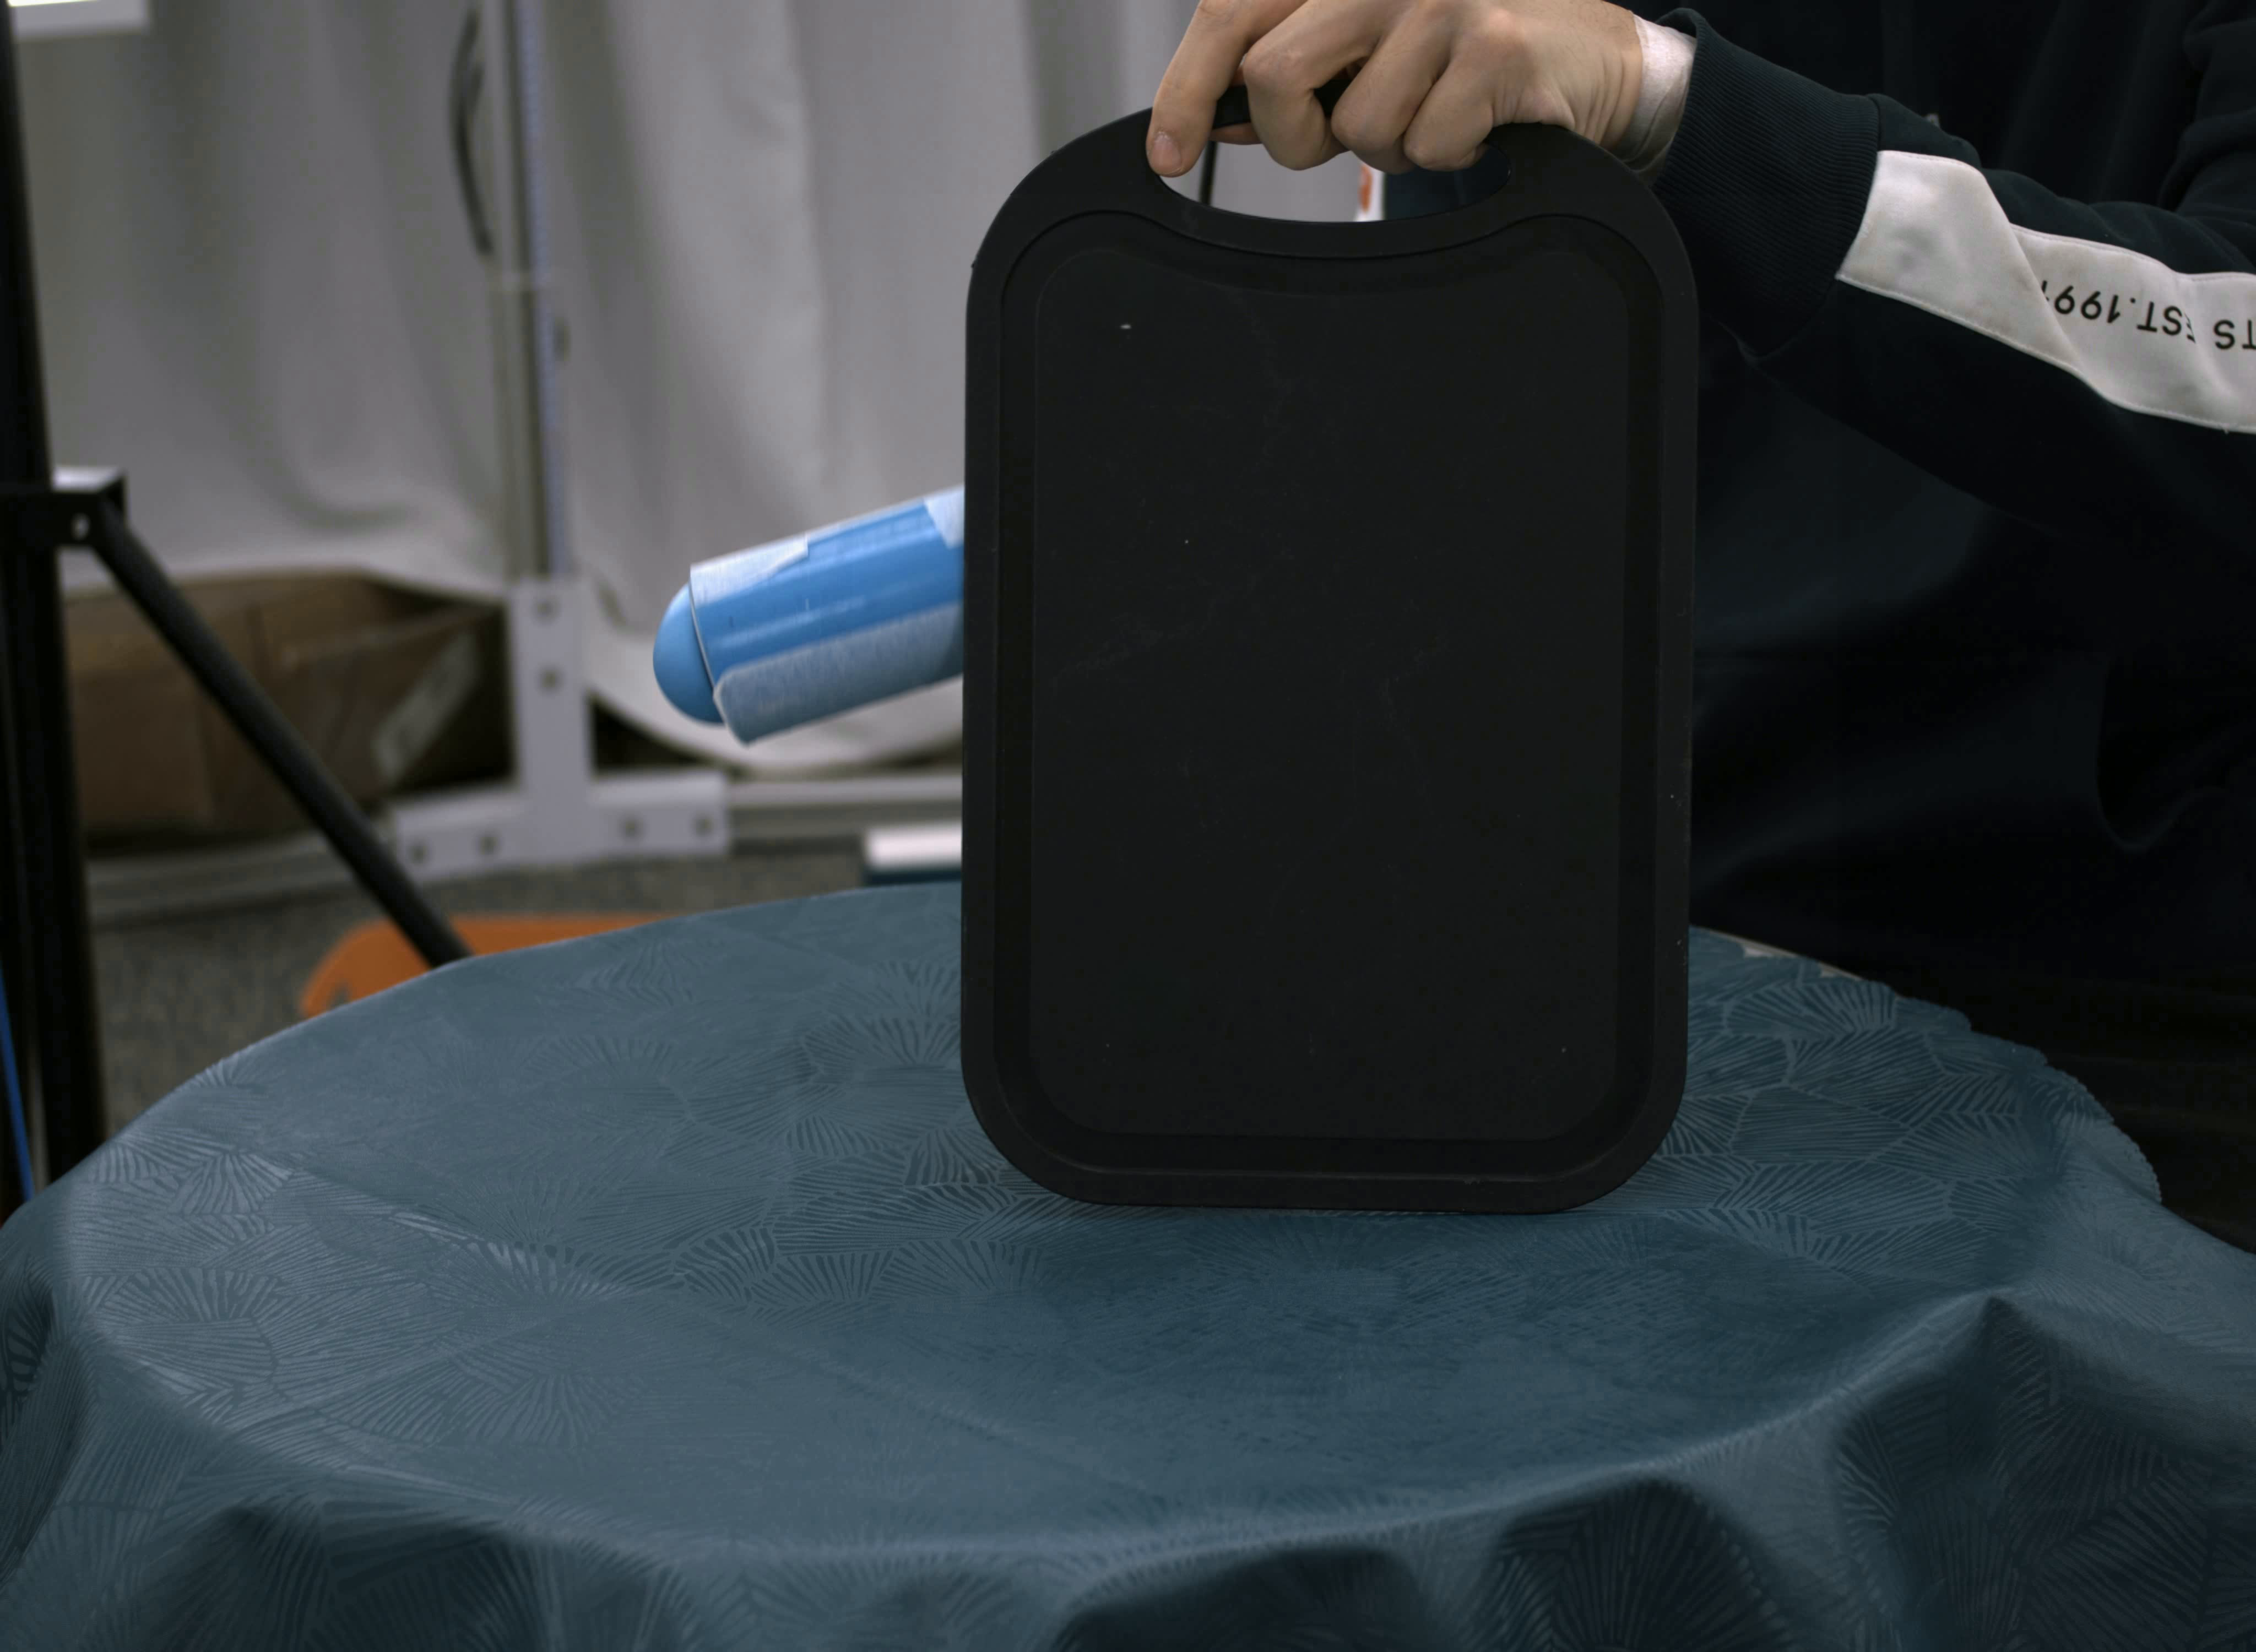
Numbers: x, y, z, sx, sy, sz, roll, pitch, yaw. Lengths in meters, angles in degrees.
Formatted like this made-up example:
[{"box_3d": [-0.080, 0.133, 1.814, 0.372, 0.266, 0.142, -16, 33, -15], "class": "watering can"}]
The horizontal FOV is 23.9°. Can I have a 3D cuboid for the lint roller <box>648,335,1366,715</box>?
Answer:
[{"box_3d": [-0.025, -0.074, 1.610, 0.228, 0.069, 0.178, -20, -18, 2], "class": "lint roller"}]

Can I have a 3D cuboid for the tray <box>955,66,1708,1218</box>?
[{"box_3d": [0.057, -0.051, 1.517, 0.211, 0.327, 0.010, 2, 3, 6], "class": "tray"}]
